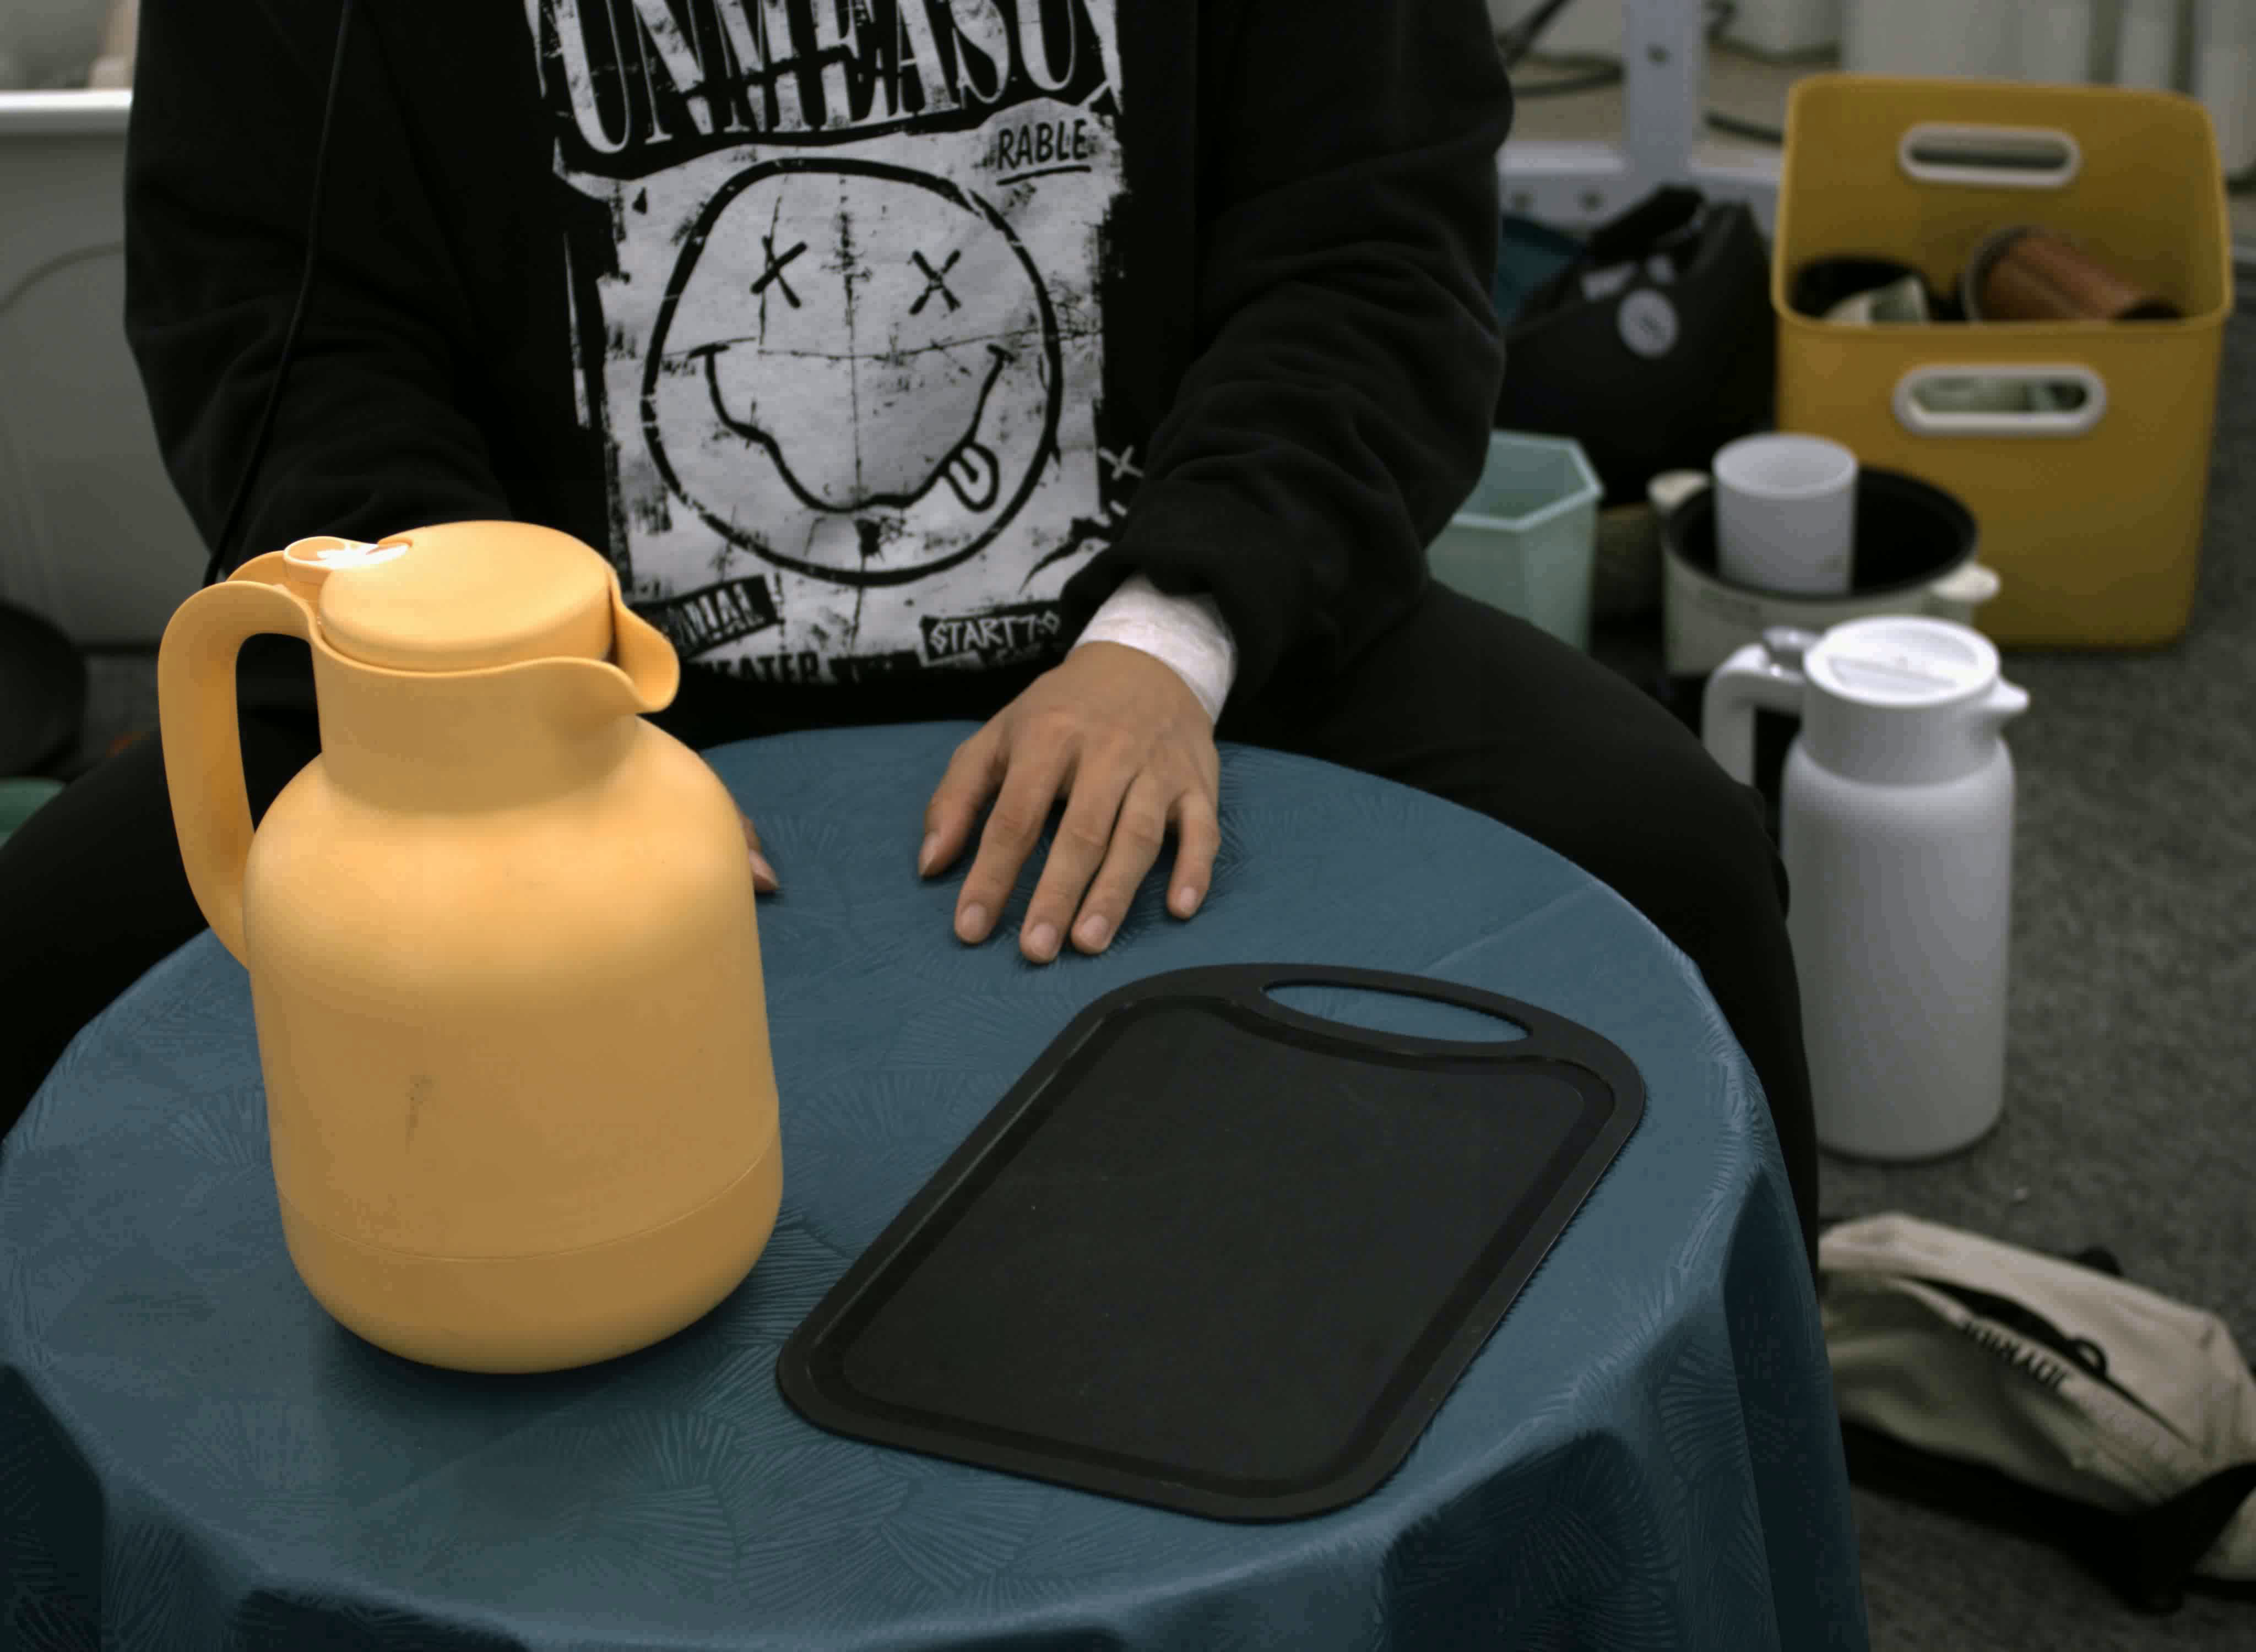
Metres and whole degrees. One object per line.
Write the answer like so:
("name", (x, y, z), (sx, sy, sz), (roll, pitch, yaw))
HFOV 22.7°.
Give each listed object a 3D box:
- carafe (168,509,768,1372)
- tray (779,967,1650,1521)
("carafe", (-0.214, 0.027, 1.781), (0.201, 0.258, 0.166), (15, 29, 30))
("tray", (0.036, 0.125, 1.841), (0.210, 0.009, 0.331), (10, 30, 23))
